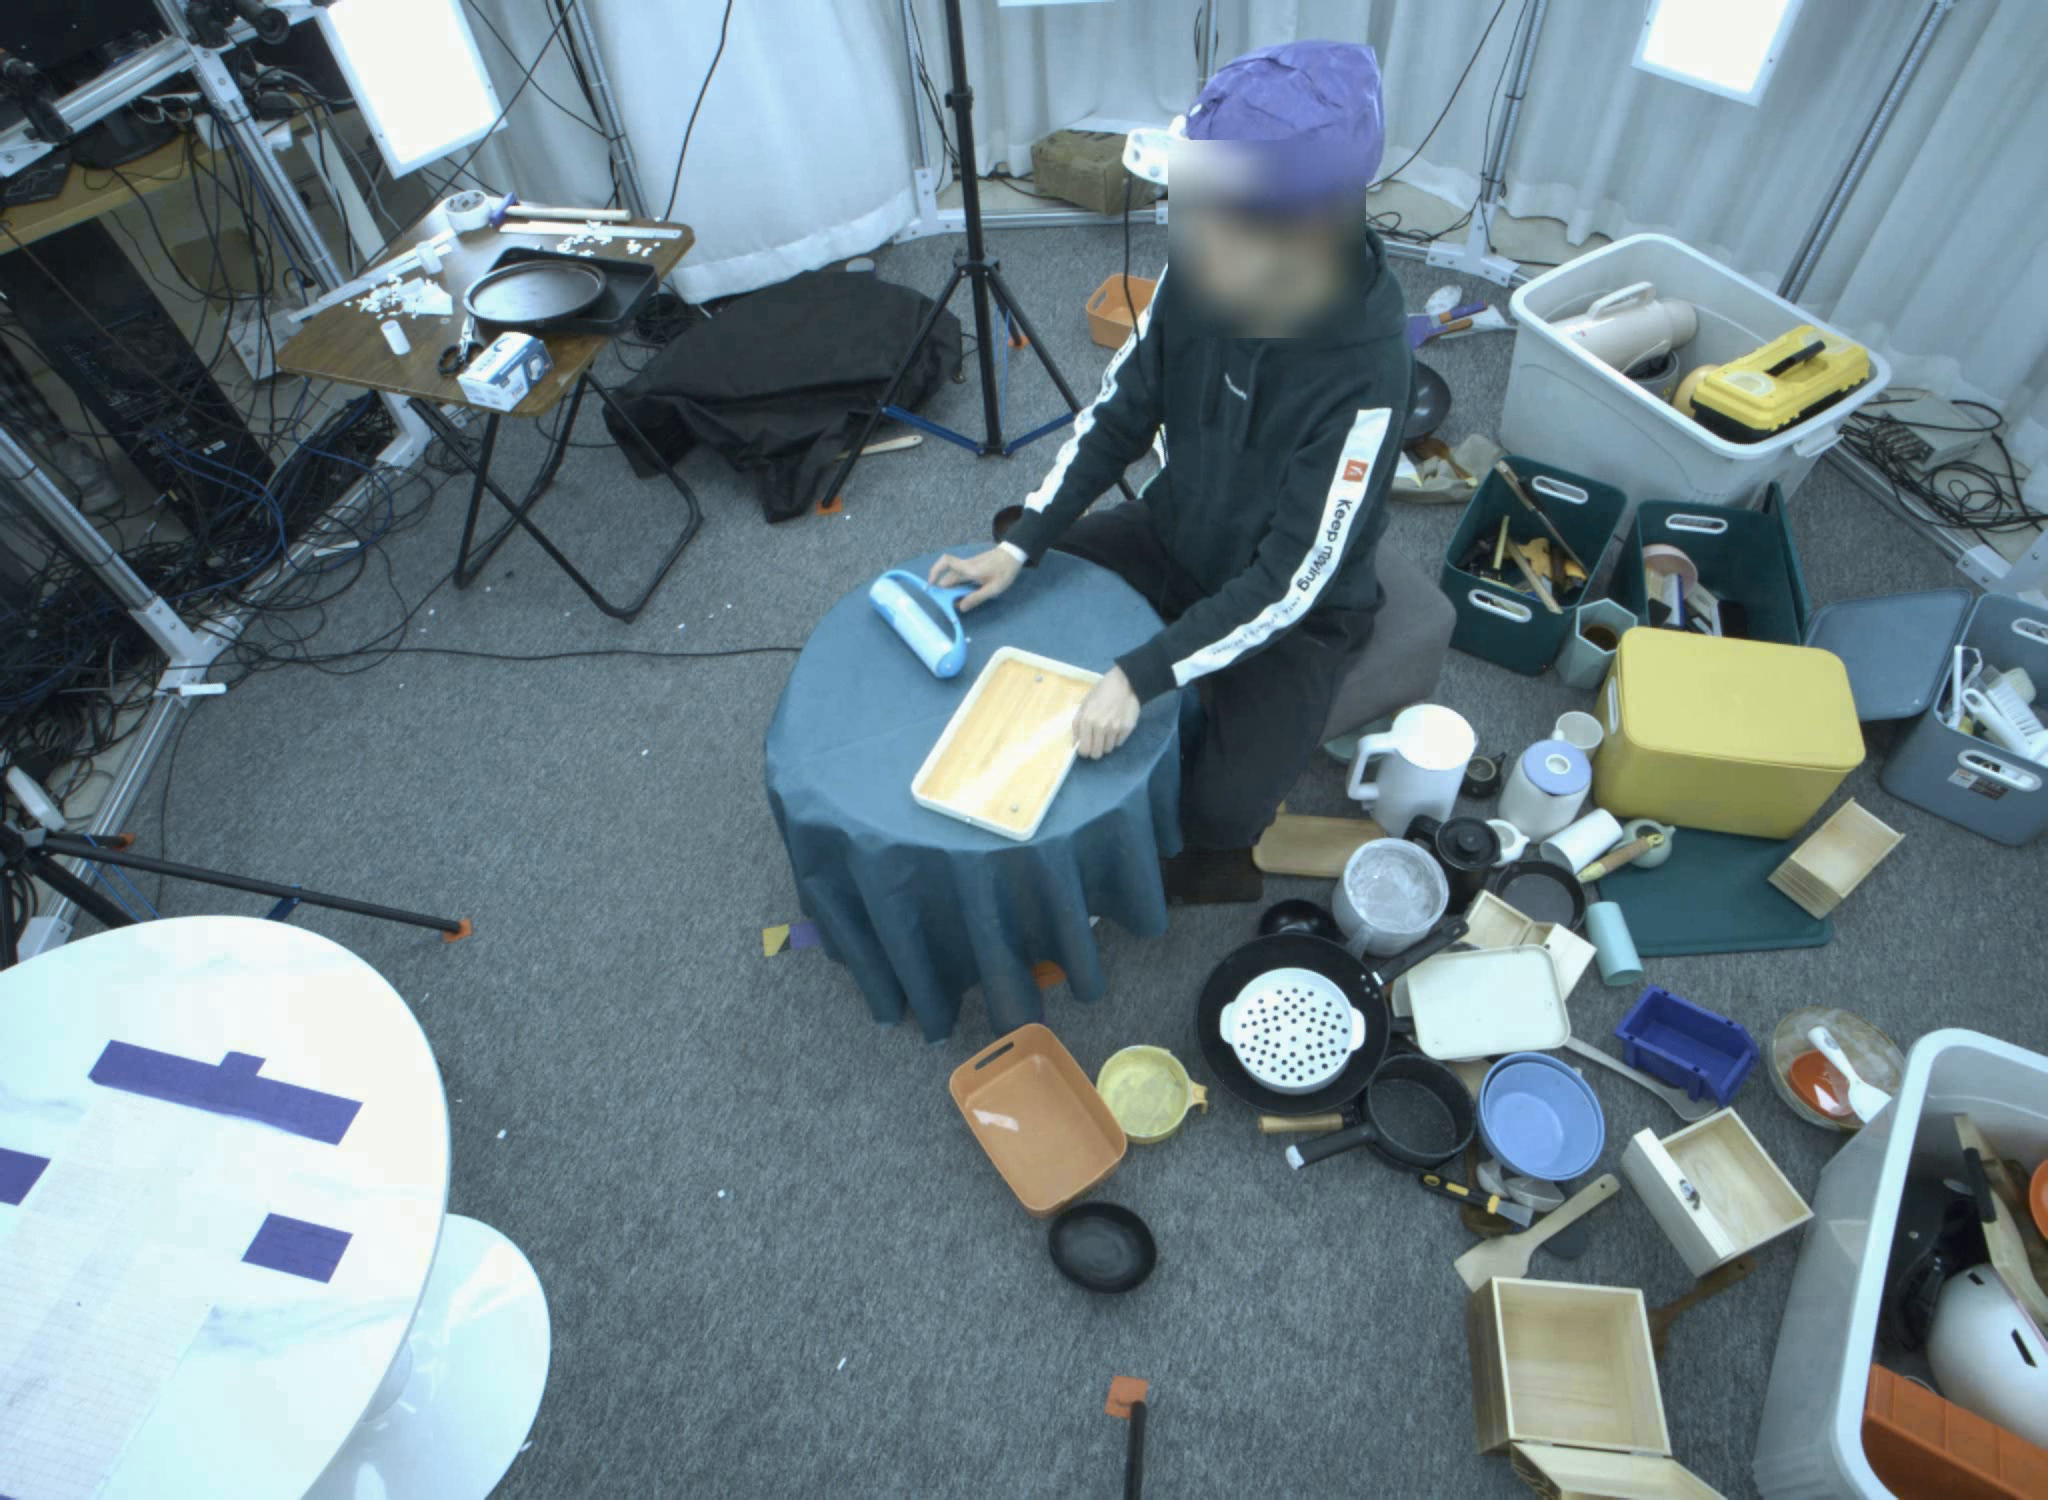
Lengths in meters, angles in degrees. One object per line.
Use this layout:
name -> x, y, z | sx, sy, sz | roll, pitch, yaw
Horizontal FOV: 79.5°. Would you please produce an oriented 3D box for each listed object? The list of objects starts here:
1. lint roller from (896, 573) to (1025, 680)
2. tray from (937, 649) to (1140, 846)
lint roller -> -0.078, -0.219, 1.907 | 0.181, 0.069, 0.224 | -34, 58, -19
tray -> 0.025, -0.010, 1.771 | 0.189, 0.028, 0.301 | 21, 58, 17
